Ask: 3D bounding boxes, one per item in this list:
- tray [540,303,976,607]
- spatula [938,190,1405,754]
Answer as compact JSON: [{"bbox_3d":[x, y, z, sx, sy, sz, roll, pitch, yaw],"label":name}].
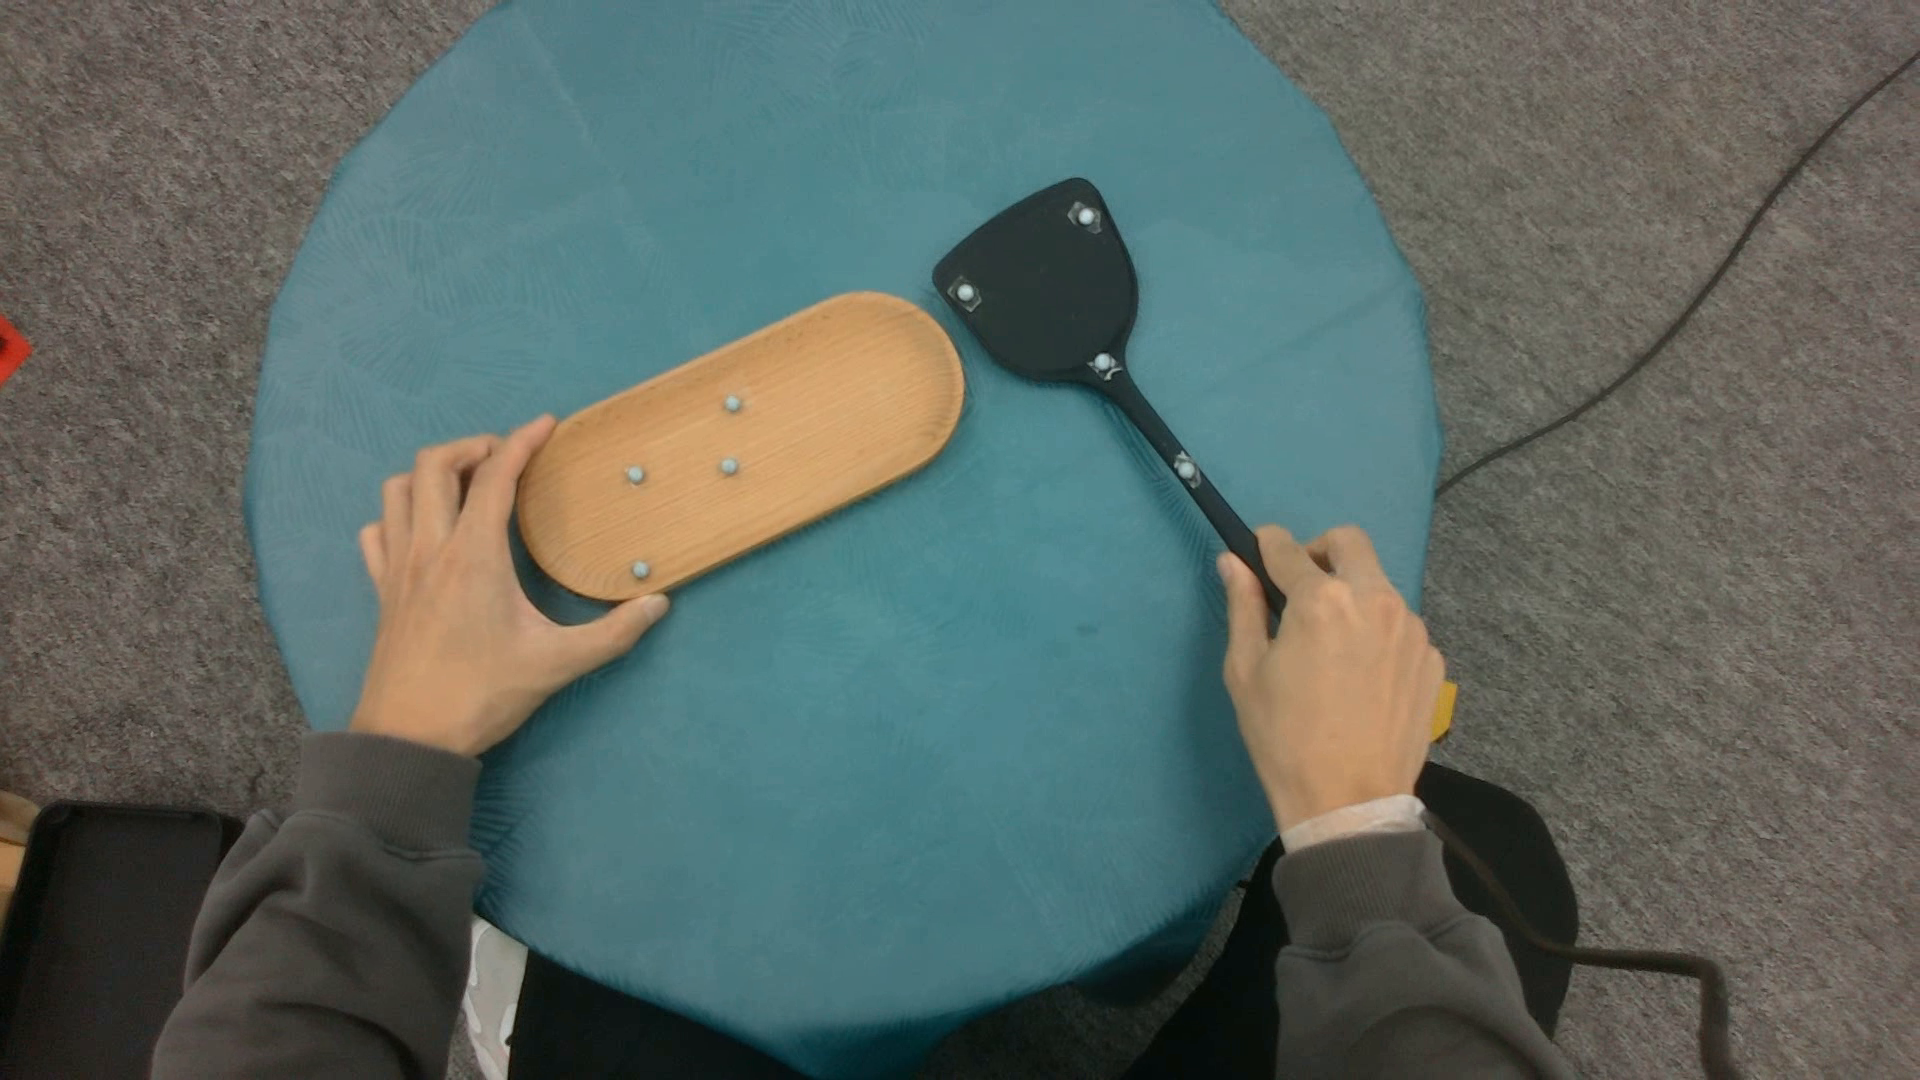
[{"bbox_3d":[-0.101,-0.044,0.701,0.231,0.020,0.102,-26,77,-8],"label":"tray"},{"bbox_3d":[0.113,-0.032,0.677,0.100,0.040,0.326,-34,70,-4],"label":"spatula"}]
